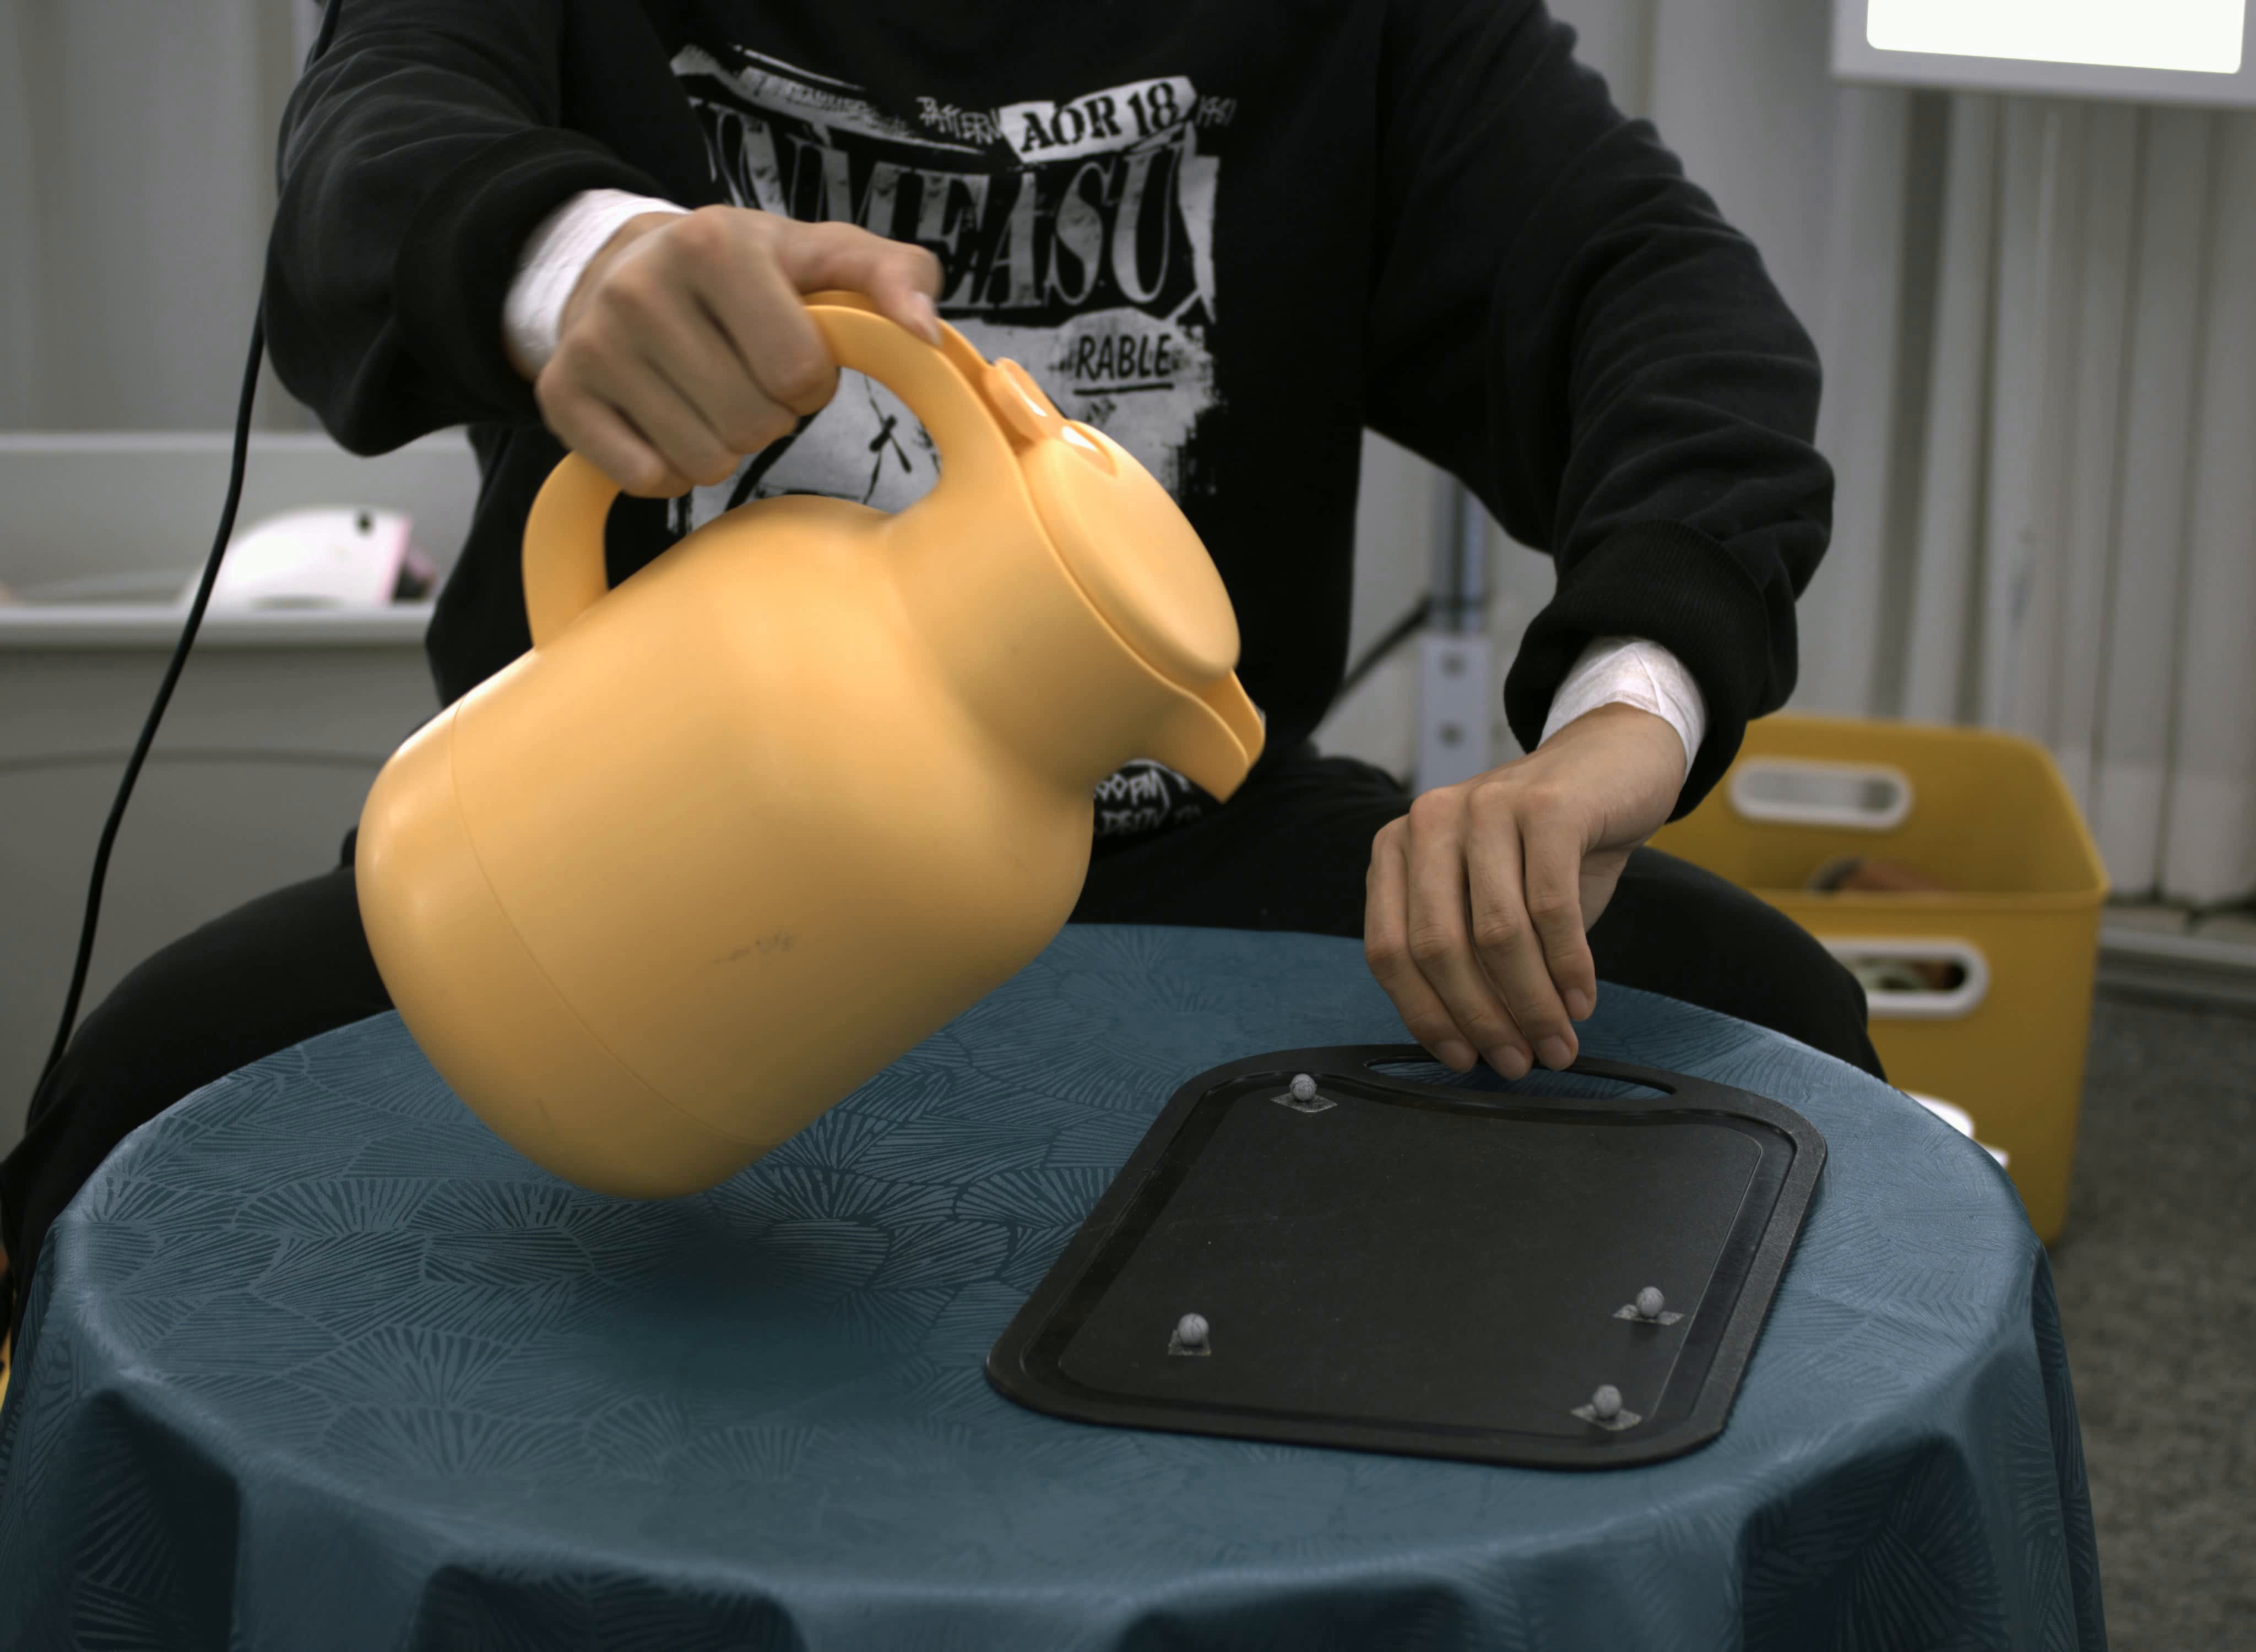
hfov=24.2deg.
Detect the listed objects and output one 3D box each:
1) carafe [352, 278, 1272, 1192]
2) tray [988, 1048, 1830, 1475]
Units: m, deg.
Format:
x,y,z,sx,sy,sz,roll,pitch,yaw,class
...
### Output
x,y,z,sx,sy,sz,roll,pitch,yaw,class
-0.099,-0.032,1.529,0.260,0.203,0.163,-32,5,16,carafe
0.092,0.120,1.572,0.209,0.010,0.325,5,18,14,tray
